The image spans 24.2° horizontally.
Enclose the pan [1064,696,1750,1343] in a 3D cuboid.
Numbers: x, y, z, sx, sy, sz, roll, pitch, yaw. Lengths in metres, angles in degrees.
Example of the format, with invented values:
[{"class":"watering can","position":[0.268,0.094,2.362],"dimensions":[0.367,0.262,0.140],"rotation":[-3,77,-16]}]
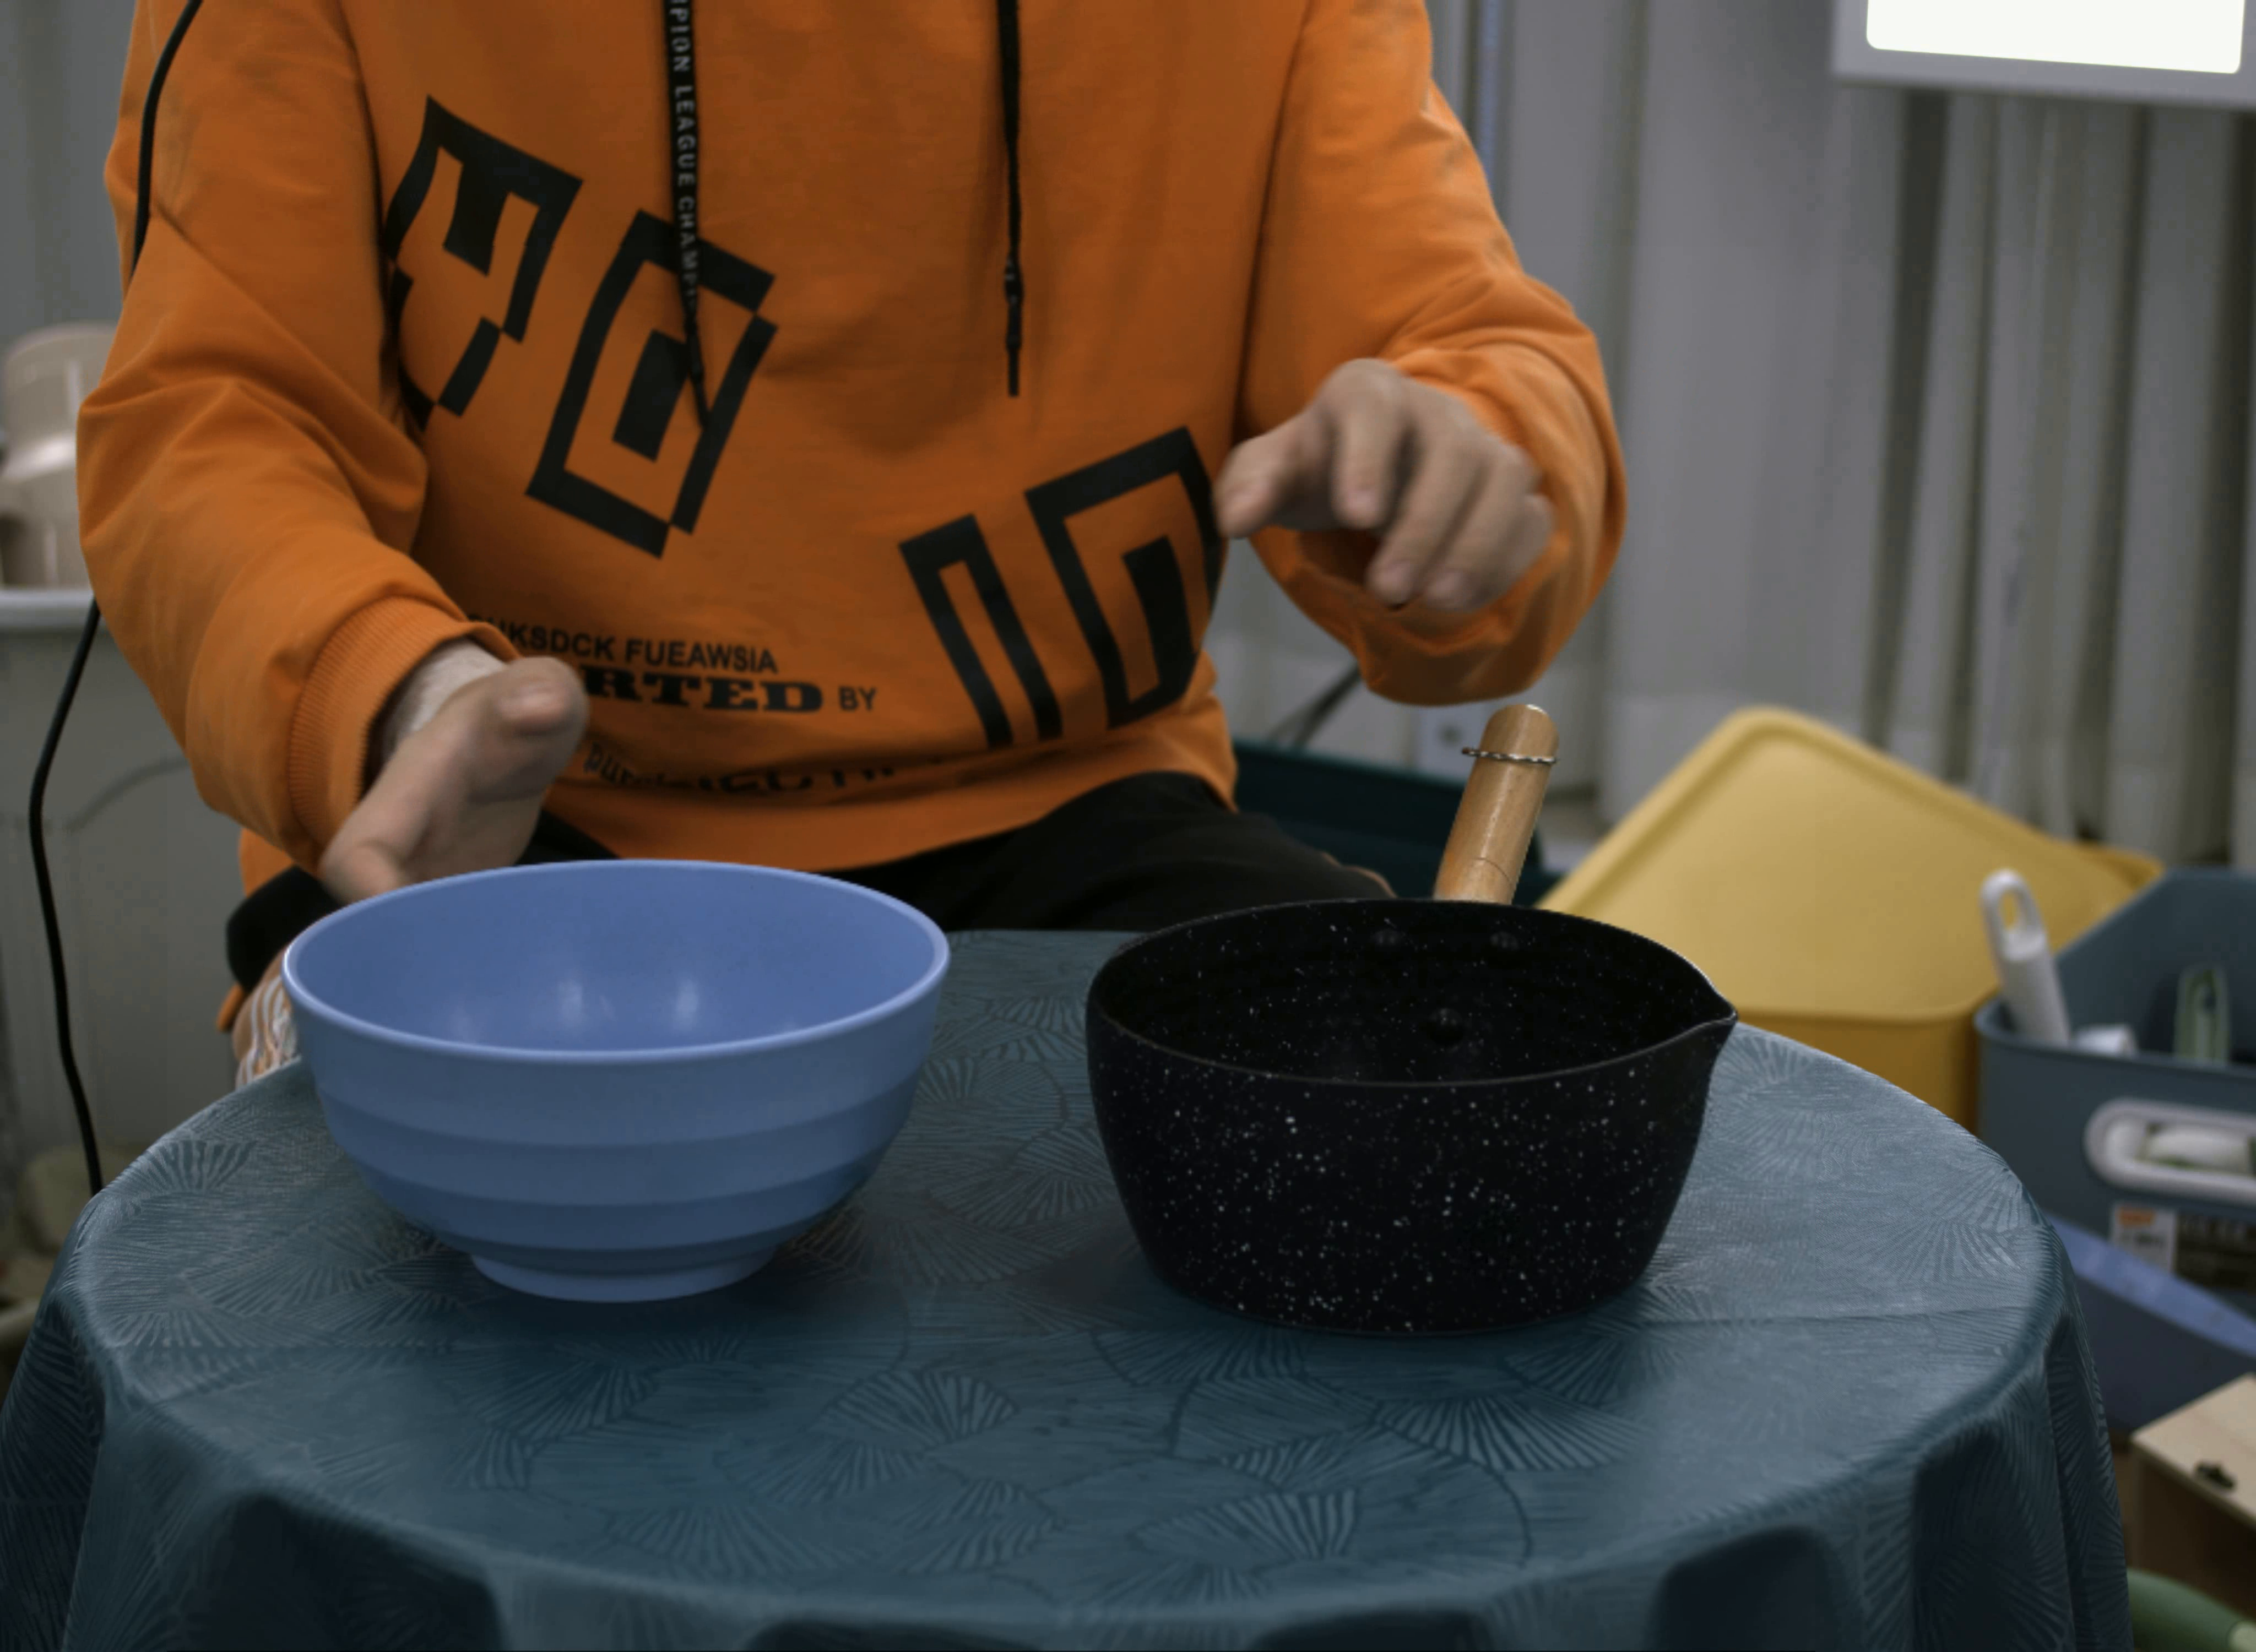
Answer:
[{"class":"pan","position":[0.096,0.055,1.631],"dimensions":[0.206,0.109,0.342],"rotation":[2,17,11]}]

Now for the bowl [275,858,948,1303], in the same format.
[{"class":"bowl","position":[-0.150,0.080,1.554],"dimensions":[0.196,0.096,0.195],"rotation":[0,16,1]}]
